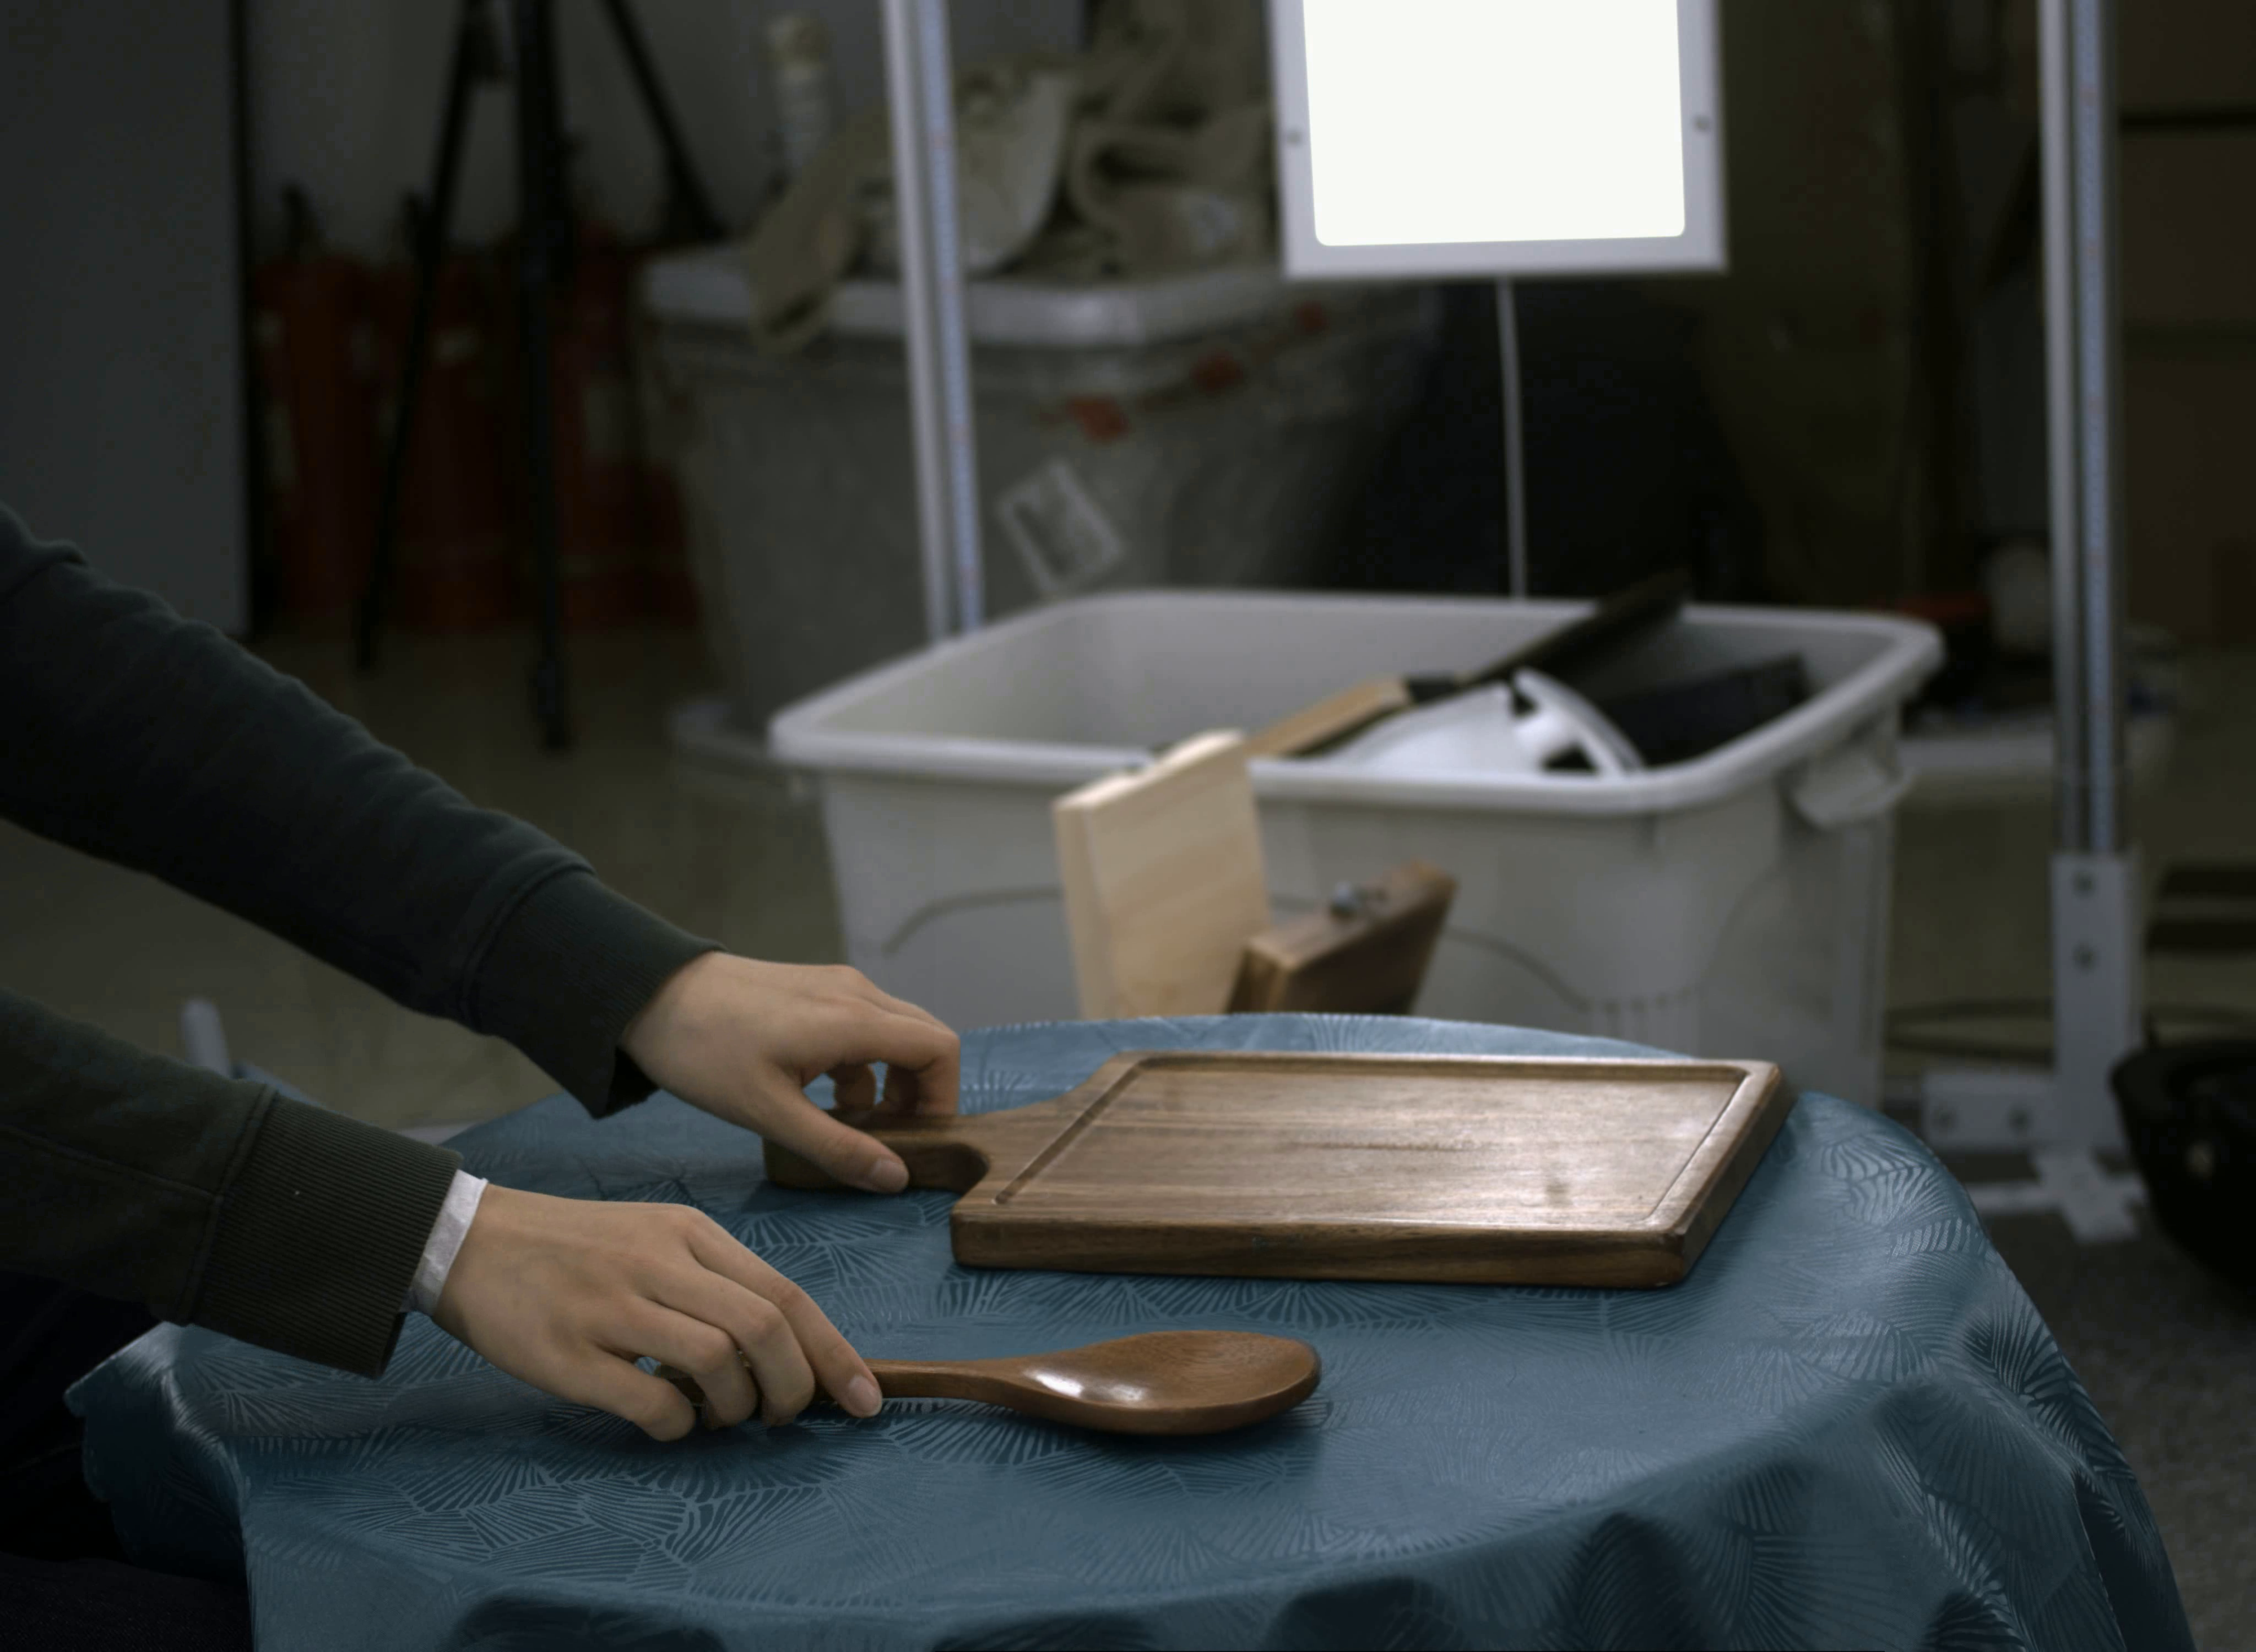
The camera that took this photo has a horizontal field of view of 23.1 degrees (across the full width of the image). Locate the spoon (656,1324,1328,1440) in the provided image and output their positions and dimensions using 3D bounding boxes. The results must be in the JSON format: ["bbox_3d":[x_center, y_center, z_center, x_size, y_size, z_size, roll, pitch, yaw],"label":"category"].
[{"bbox_3d":[-0.043,0.170,1.695,0.218,0.017,0.074,1,17,19],"label":"spoon"}]

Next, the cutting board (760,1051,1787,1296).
[{"bbox_3d":[0.039,0.115,1.892,0.357,0.023,0.197,0,15,20],"label":"cutting board"}]
